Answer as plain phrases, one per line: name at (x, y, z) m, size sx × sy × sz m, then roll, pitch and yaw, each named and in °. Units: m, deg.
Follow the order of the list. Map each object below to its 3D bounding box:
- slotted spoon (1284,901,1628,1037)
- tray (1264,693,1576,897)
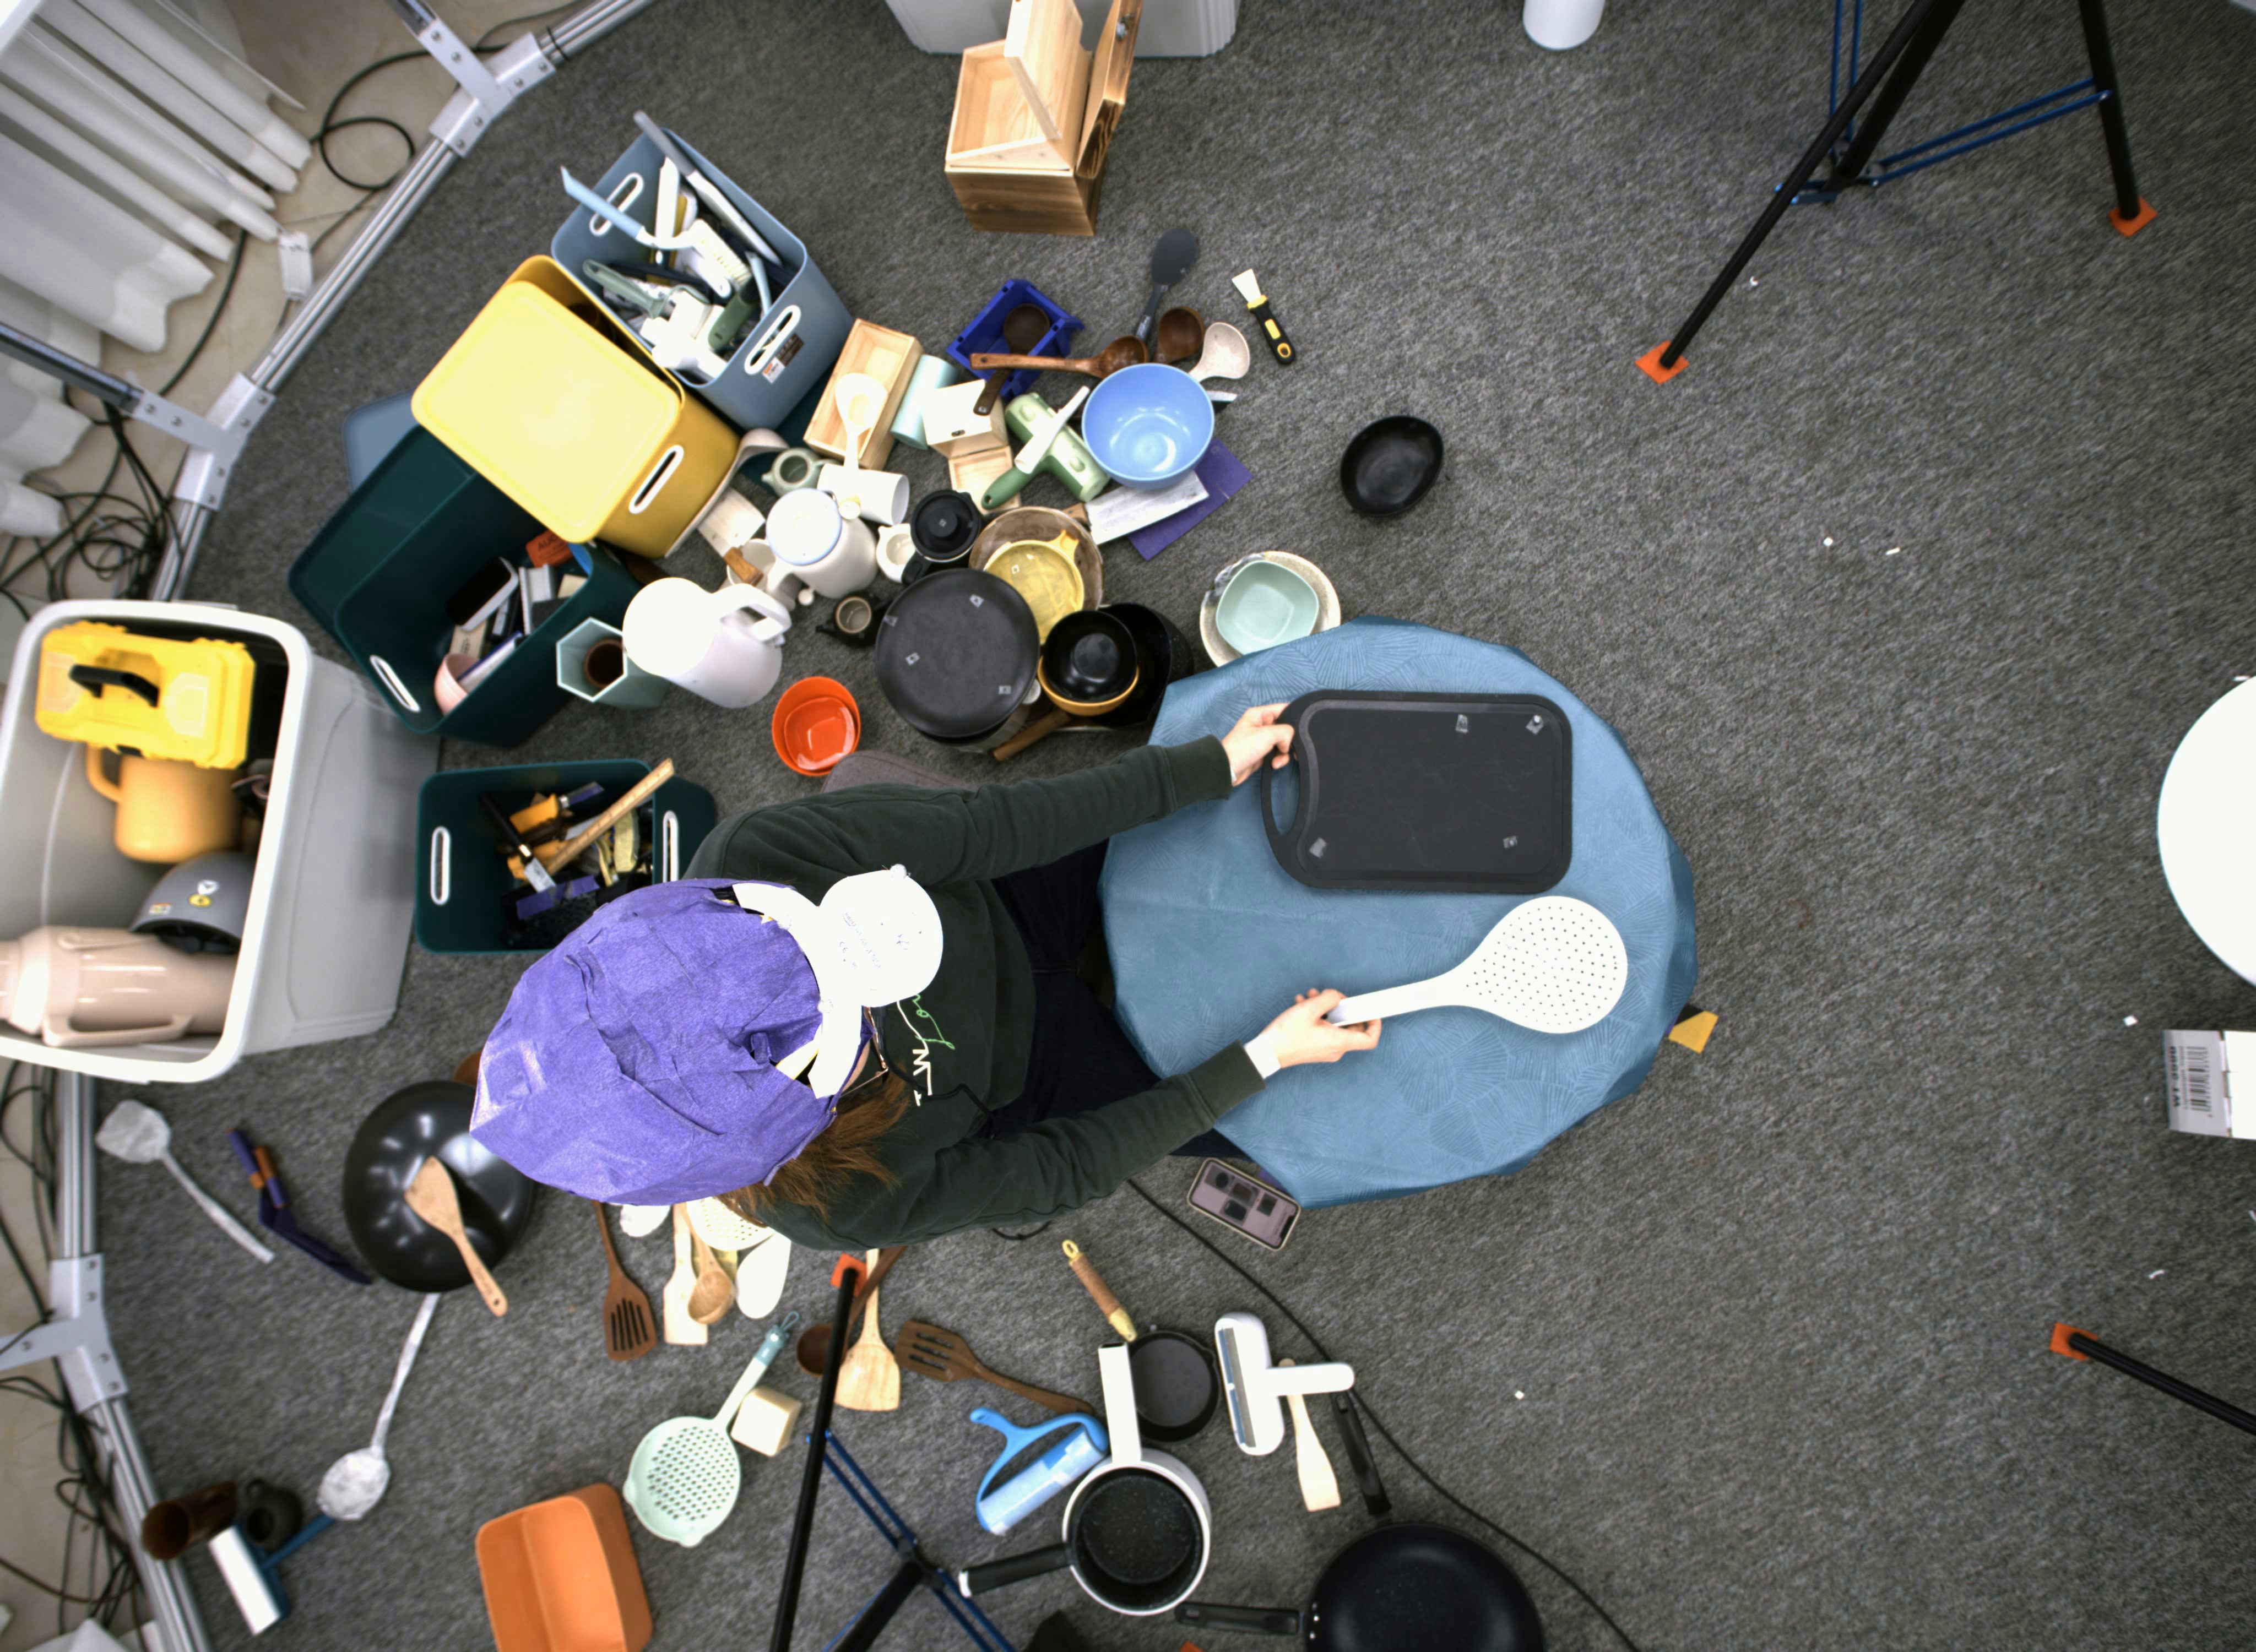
slotted spoon at (0.333, 0.167, 1.414) m, size 0.351 × 0.046 × 0.134 m, roll -13°, pitch 78°, yaw 5°
tray at (0.306, -0.035, 1.443) m, size 0.326 × 0.010 × 0.210 m, roll 1°, pitch 89°, yaw 5°
